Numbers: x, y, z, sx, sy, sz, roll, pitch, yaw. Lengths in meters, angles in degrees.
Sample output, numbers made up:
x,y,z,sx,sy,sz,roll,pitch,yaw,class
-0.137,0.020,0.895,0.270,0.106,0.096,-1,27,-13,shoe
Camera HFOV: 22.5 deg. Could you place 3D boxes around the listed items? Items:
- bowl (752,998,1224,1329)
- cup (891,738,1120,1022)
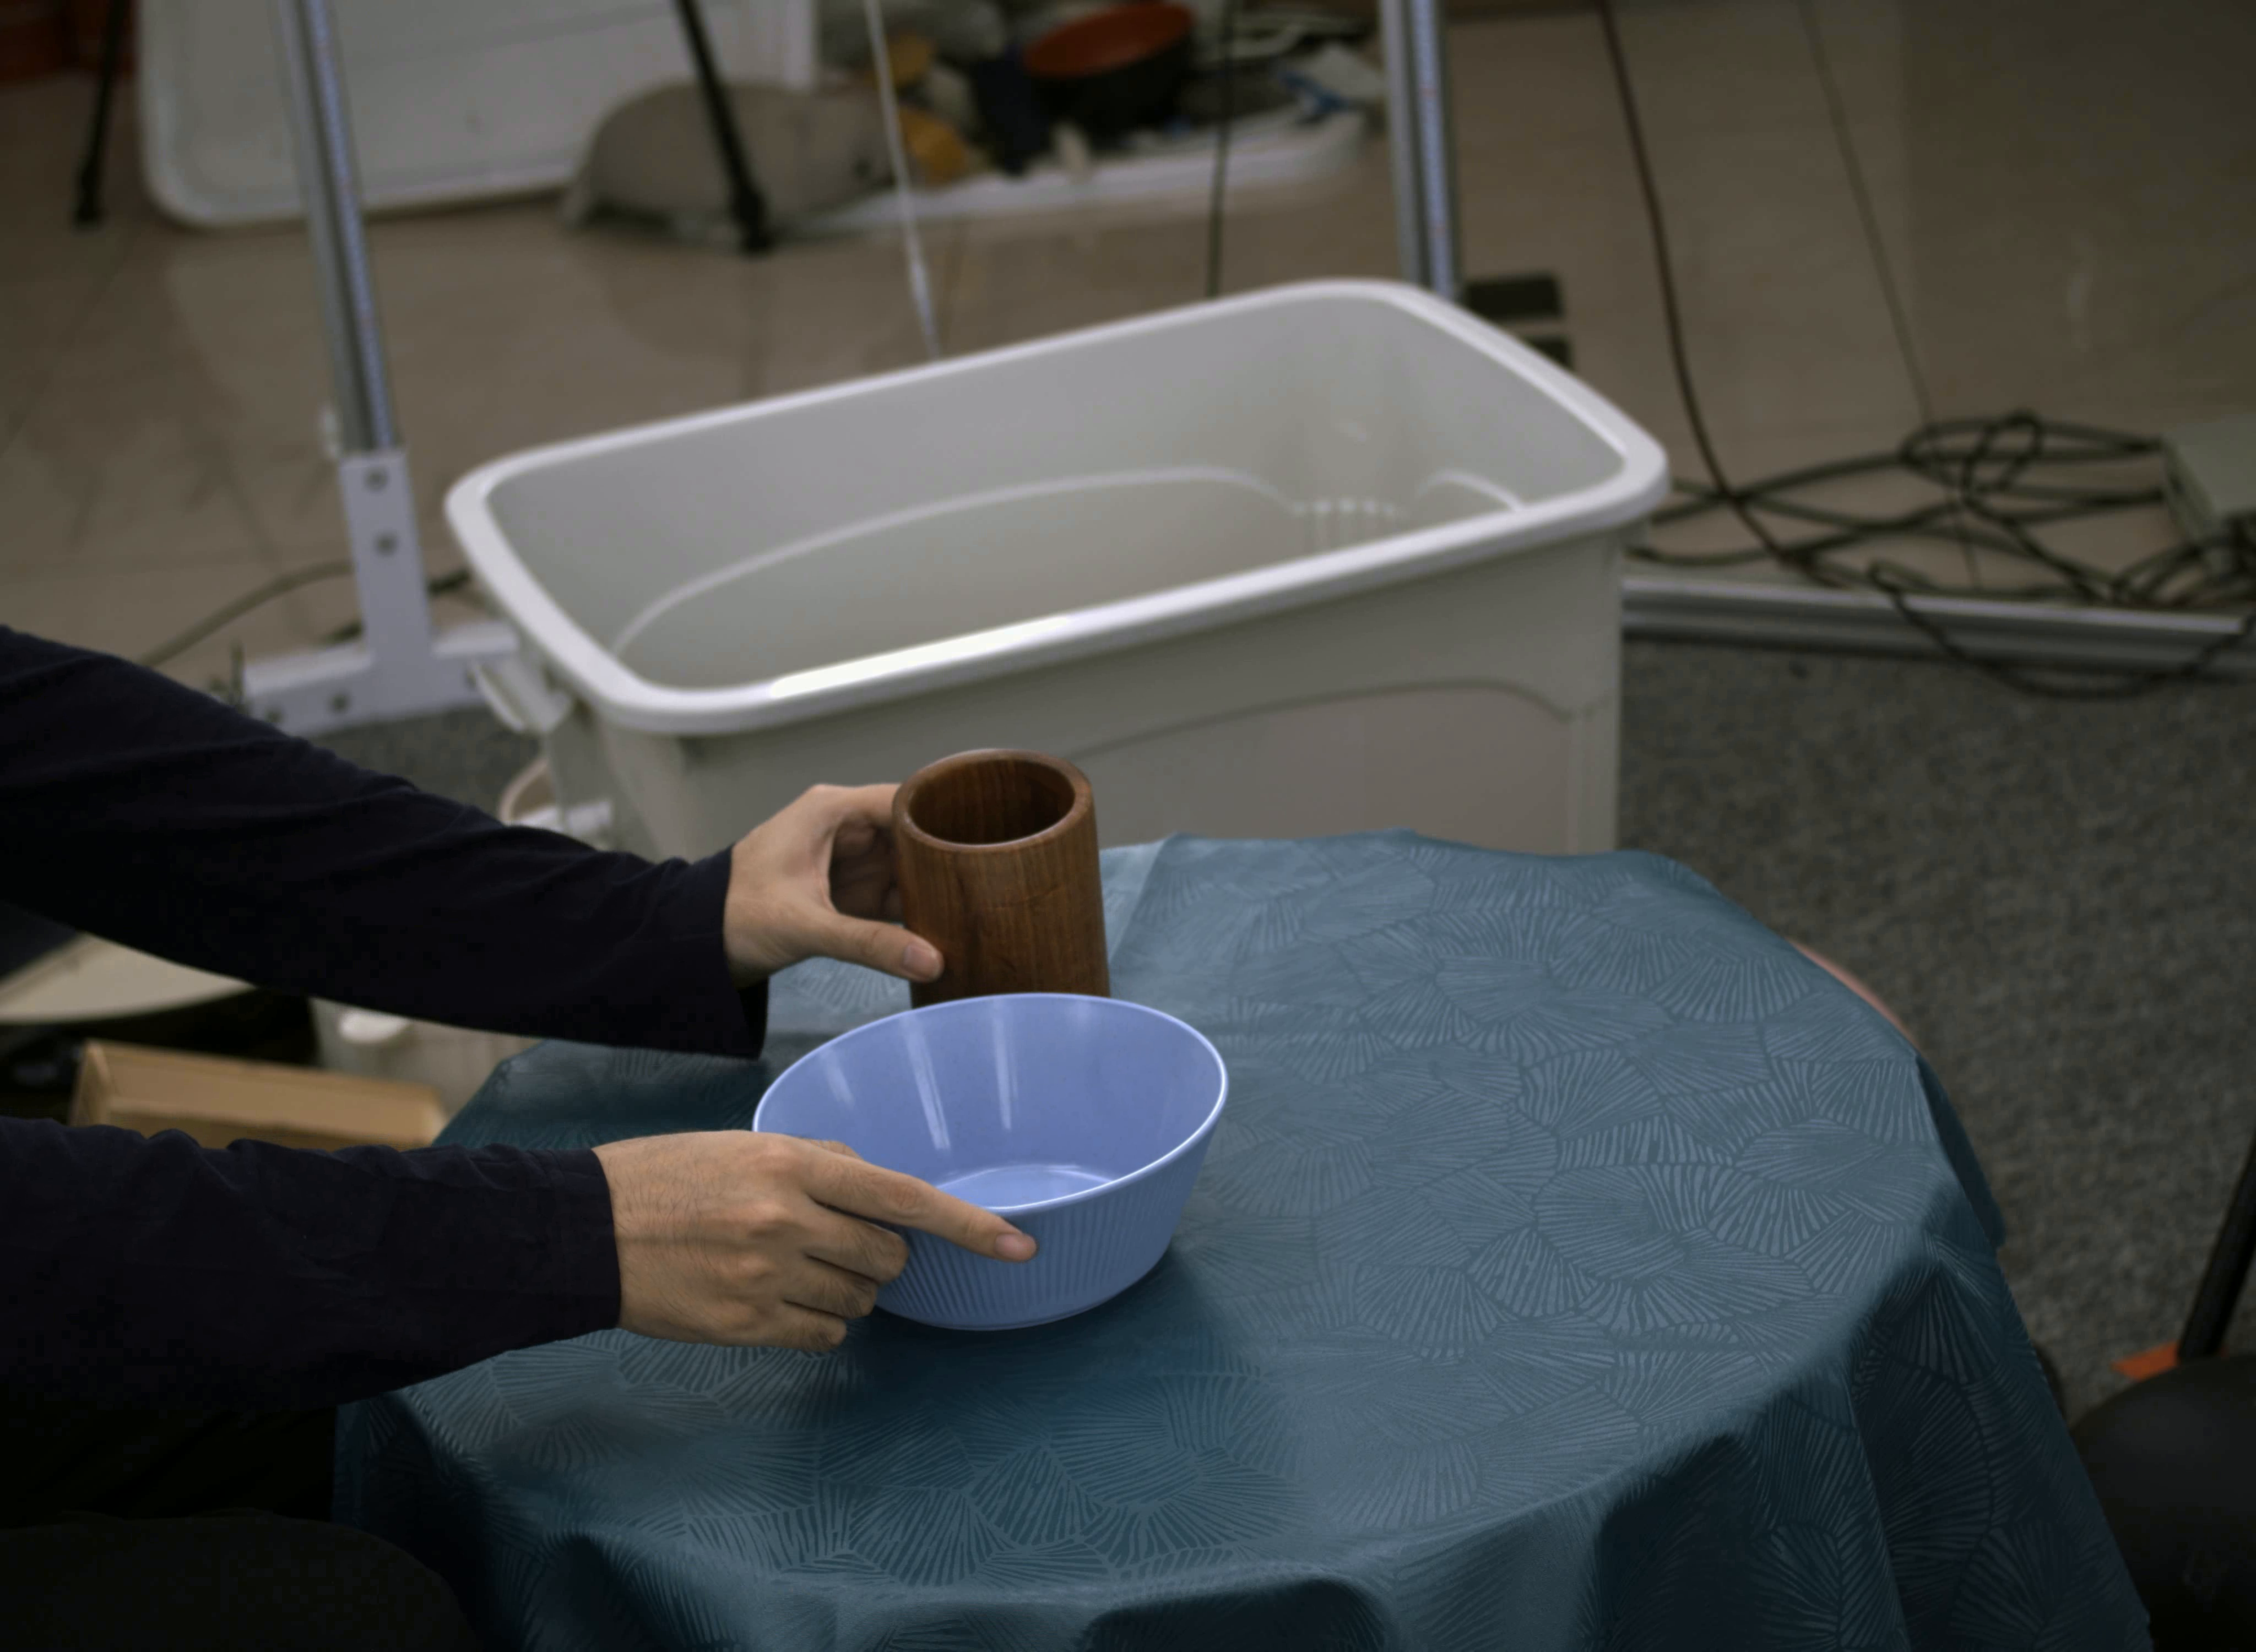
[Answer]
x,y,z,sx,sy,sz,roll,pitch,yaw,class
-0.048,0.130,2.094,0.176,0.071,0.173,-6,24,3,bowl
-0.047,0.036,2.219,0.087,0.120,0.086,-5,30,3,cup
